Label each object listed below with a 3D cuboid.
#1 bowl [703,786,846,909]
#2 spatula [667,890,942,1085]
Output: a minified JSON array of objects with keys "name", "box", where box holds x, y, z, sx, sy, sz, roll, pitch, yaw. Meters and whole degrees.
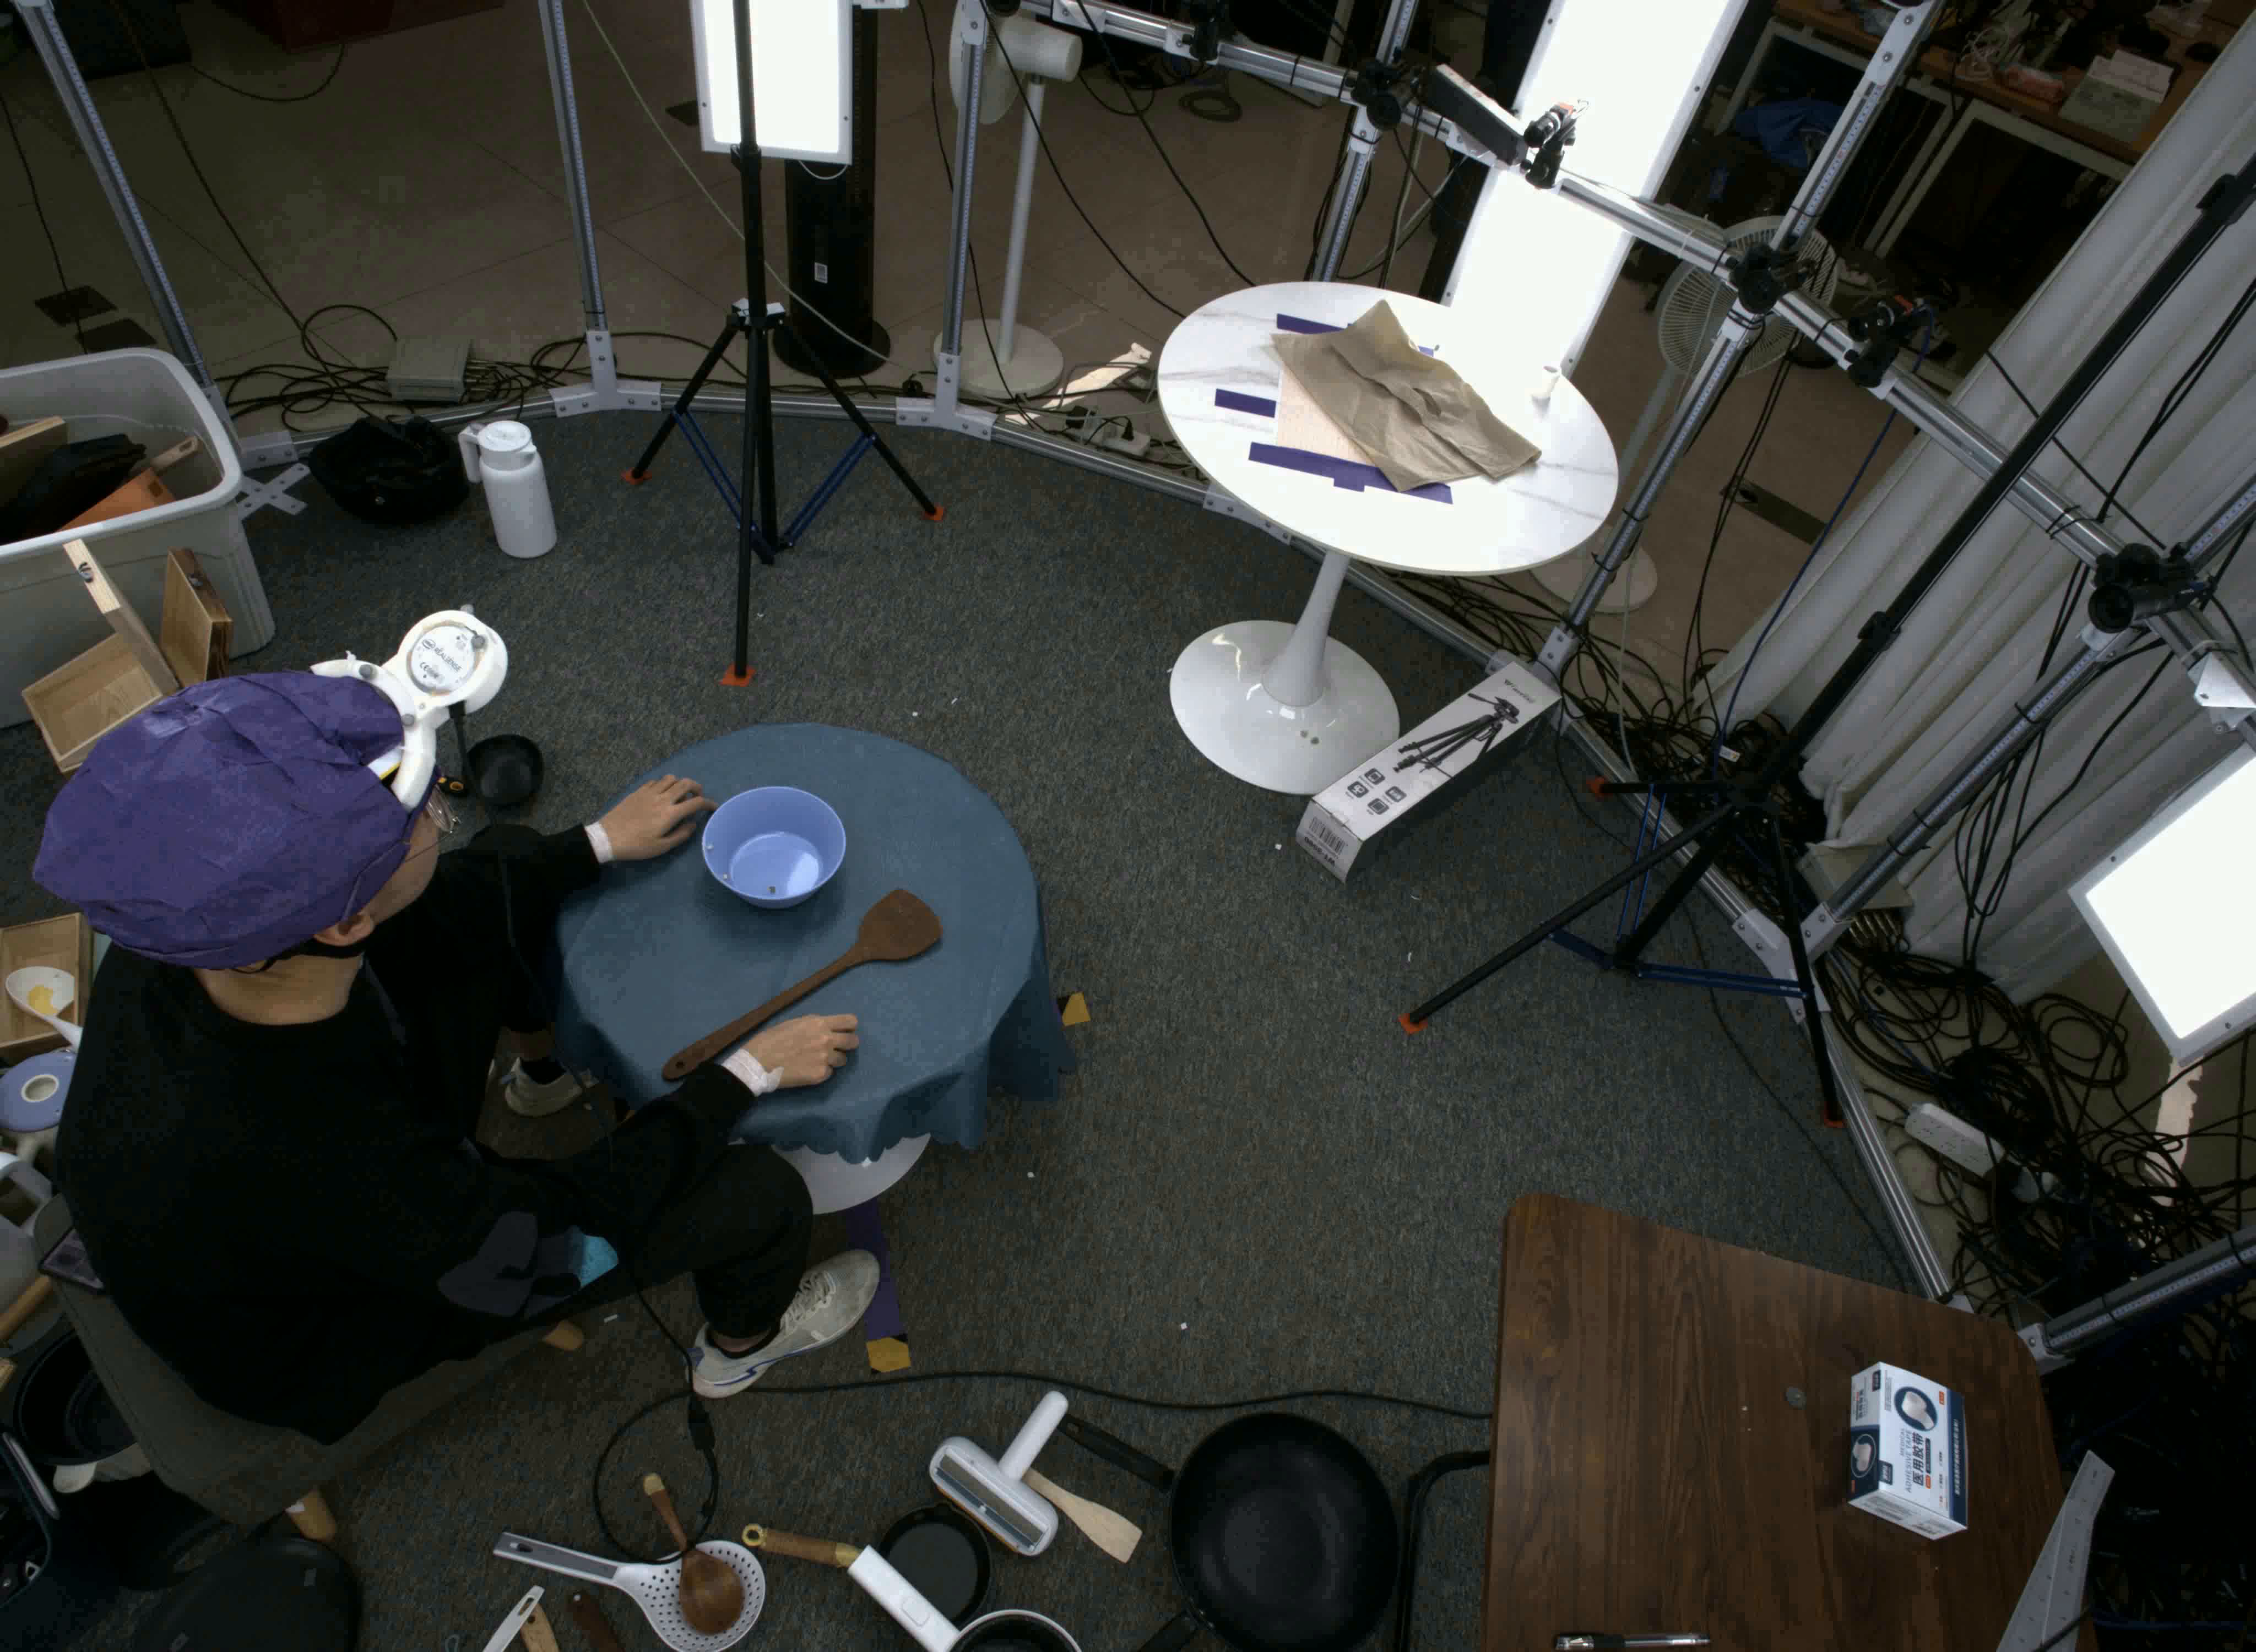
[{"name":"bowl","box":[-0.447,0.037,1.651,0.175,0.072,0.173,7,53,-7]},{"name":"spatula","box":[-0.394,0.197,1.581,0.387,0.016,0.094,-34,67,-32]}]
